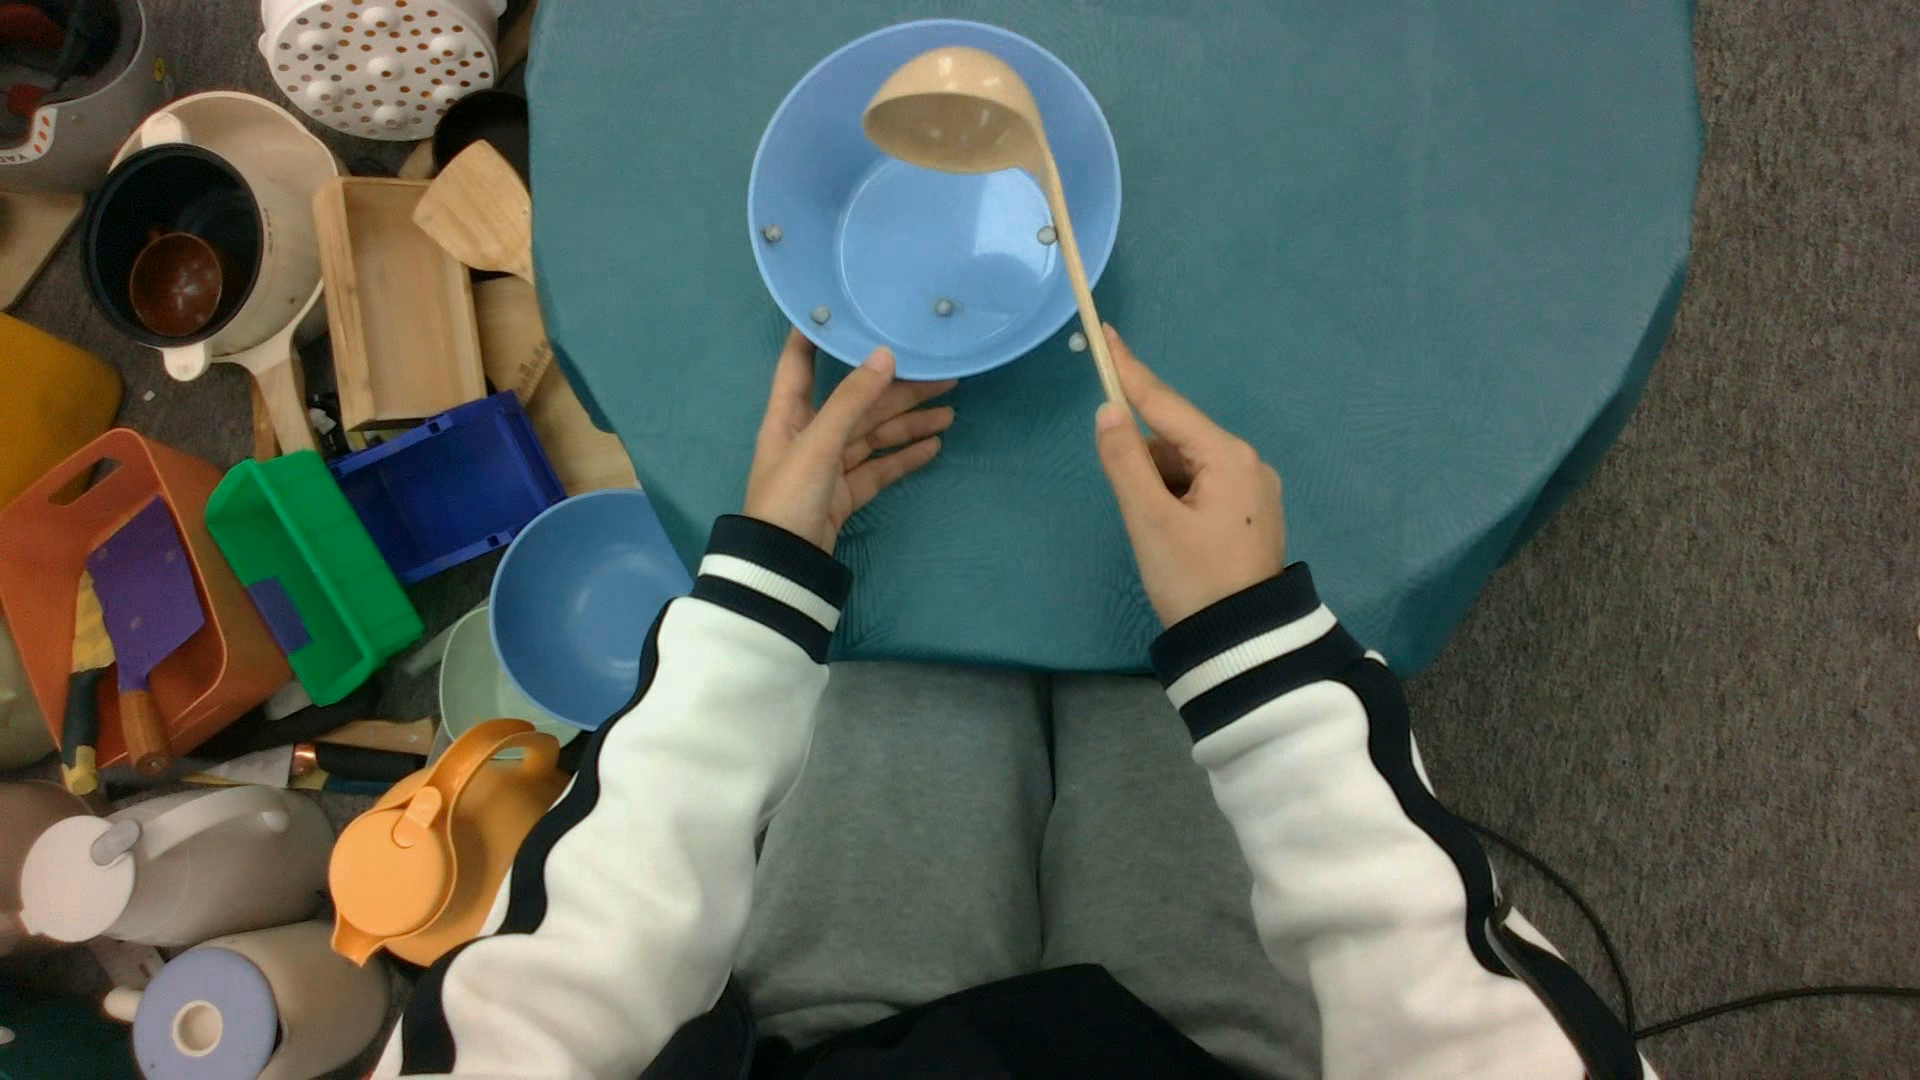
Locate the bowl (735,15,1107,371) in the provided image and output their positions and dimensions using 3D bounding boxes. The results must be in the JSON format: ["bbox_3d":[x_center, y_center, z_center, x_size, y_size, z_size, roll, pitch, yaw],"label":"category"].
[{"bbox_3d":[-0.016,-0.159,0.673,0.176,0.070,0.176,-1,80,7],"label":"bowl"}]

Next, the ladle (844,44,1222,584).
[{"bbox_3d":[0.026,-0.087,0.571,0.073,0.072,0.255,-19,79,-17],"label":"ladle"}]
